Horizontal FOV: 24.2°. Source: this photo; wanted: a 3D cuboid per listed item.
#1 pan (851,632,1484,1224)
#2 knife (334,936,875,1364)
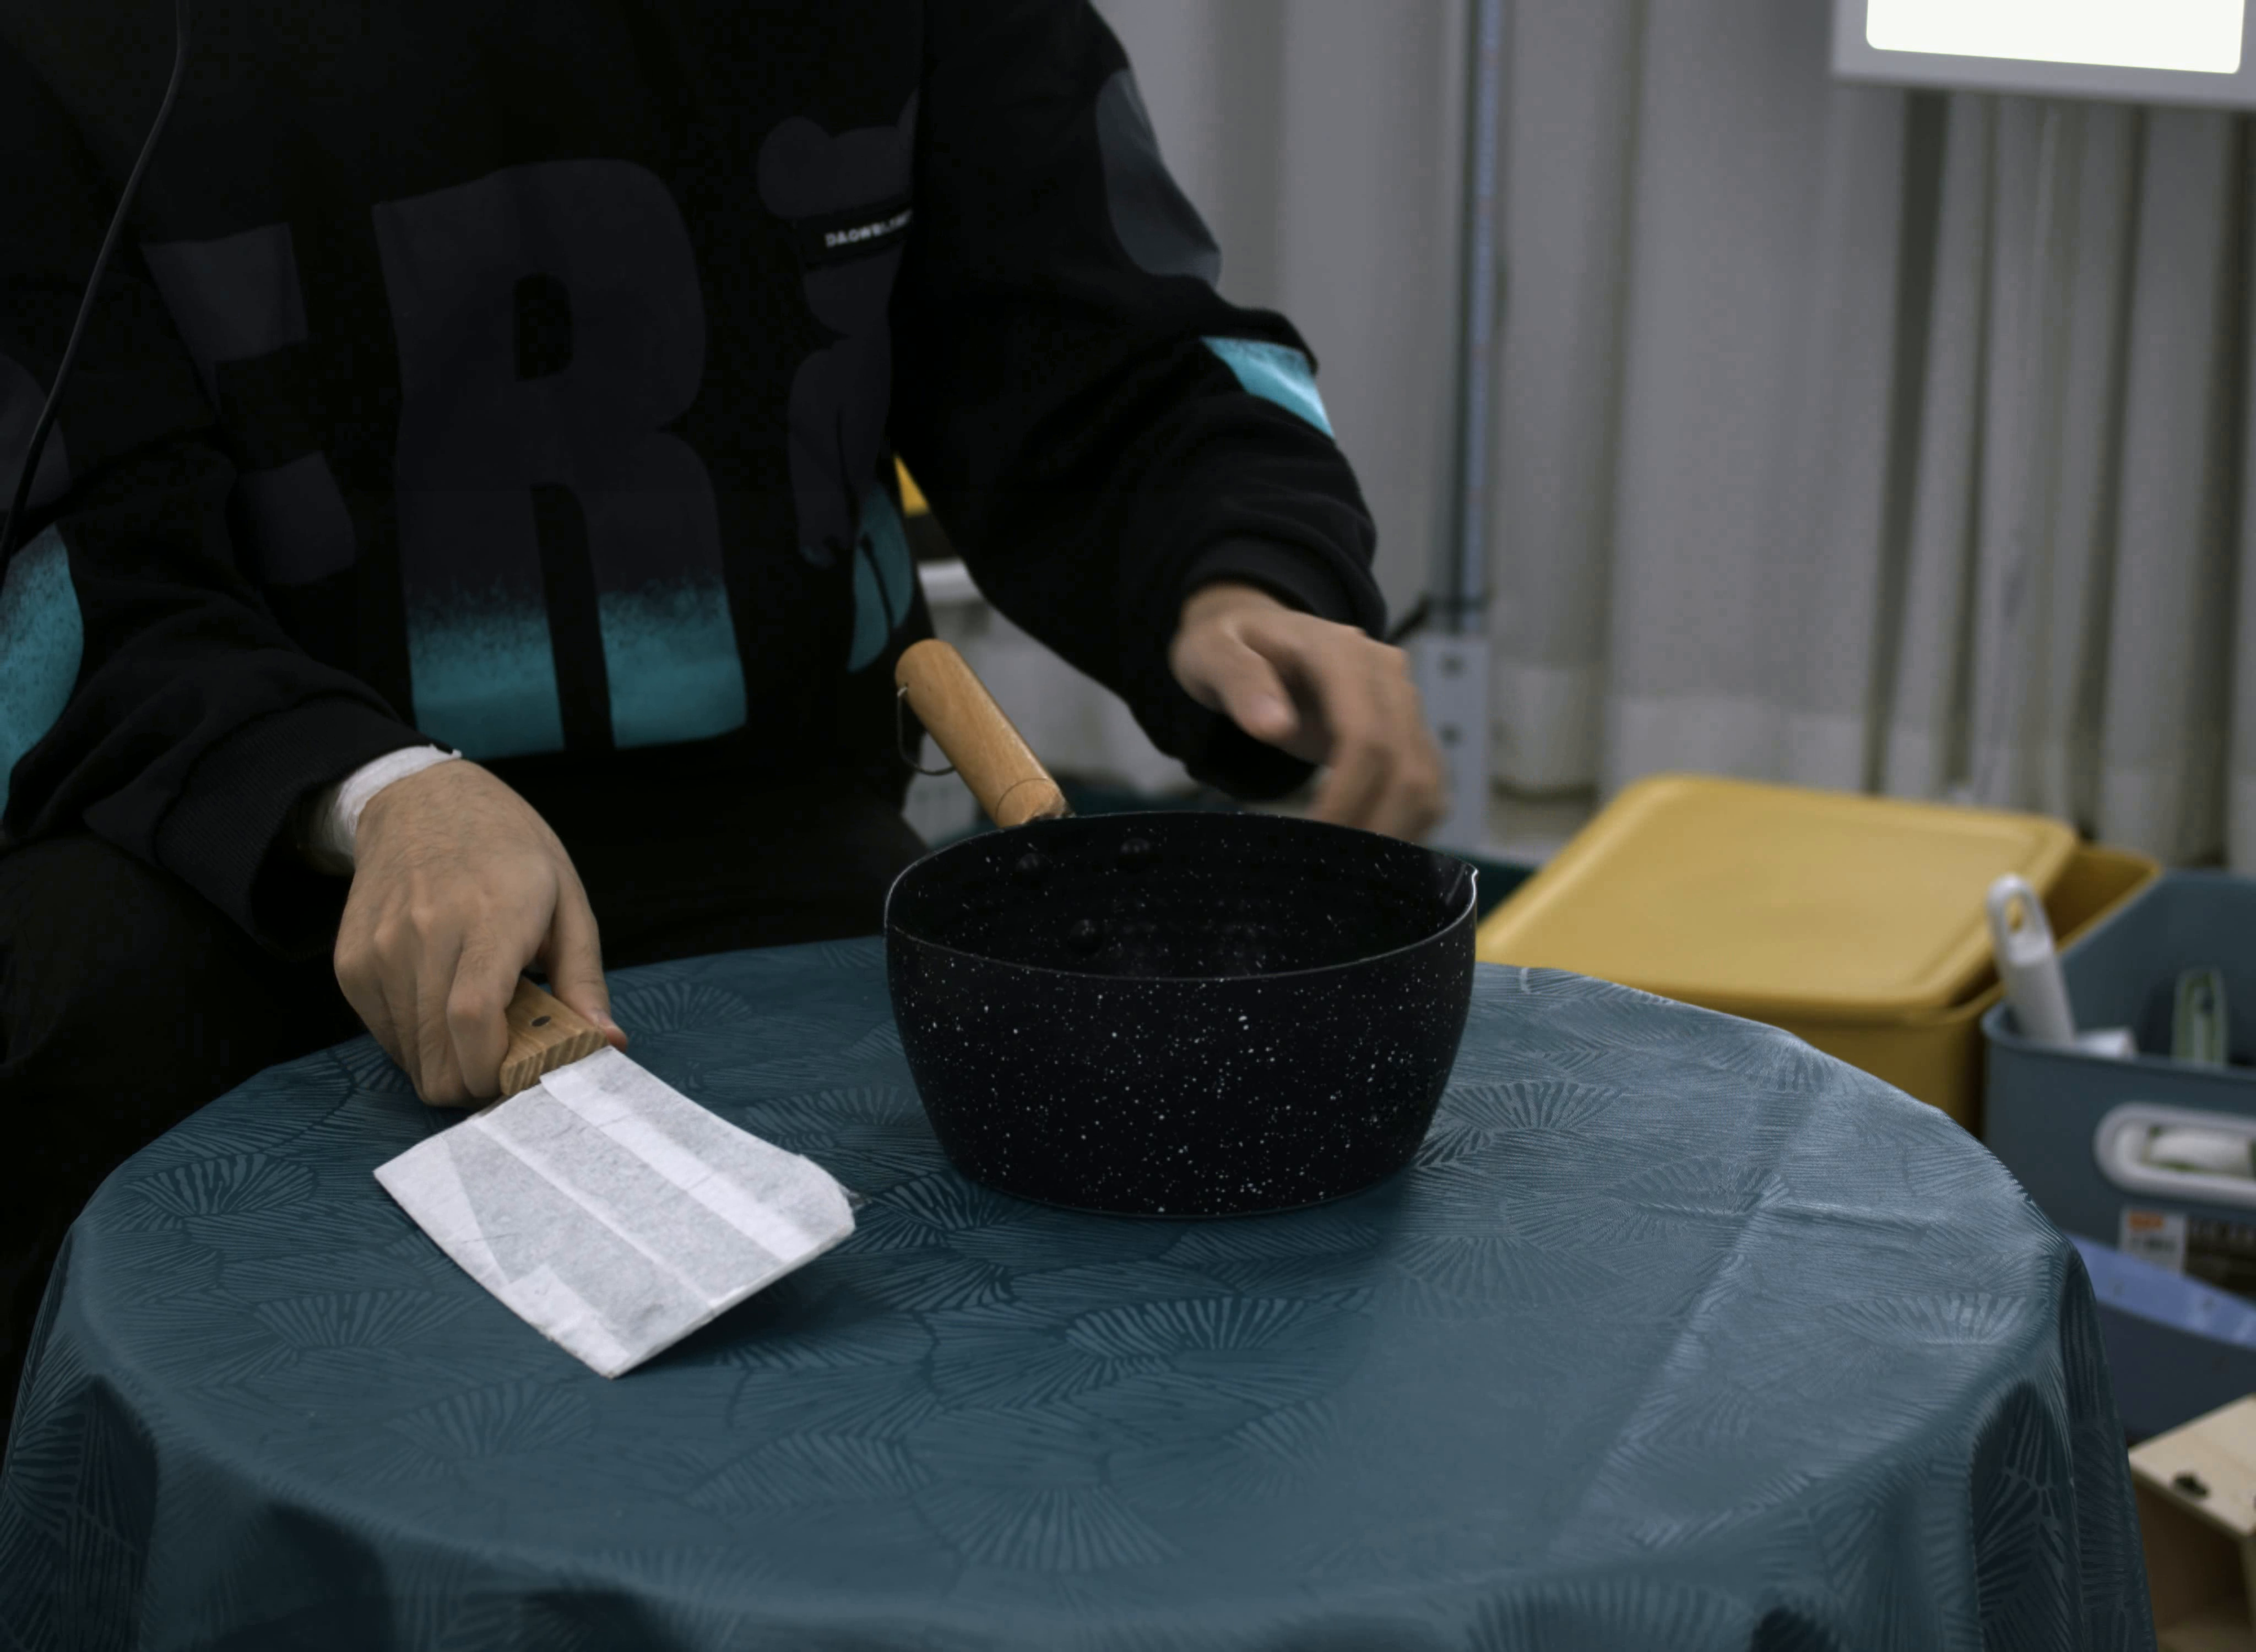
[{"bbox_3d":[-0.013,0.028,1.718,0.208,0.109,0.339,-7,19,-22],"label":"pan"},{"bbox_3d":[-0.175,0.091,1.613,0.114,0.022,0.311,-27,27,-17],"label":"knife"}]
